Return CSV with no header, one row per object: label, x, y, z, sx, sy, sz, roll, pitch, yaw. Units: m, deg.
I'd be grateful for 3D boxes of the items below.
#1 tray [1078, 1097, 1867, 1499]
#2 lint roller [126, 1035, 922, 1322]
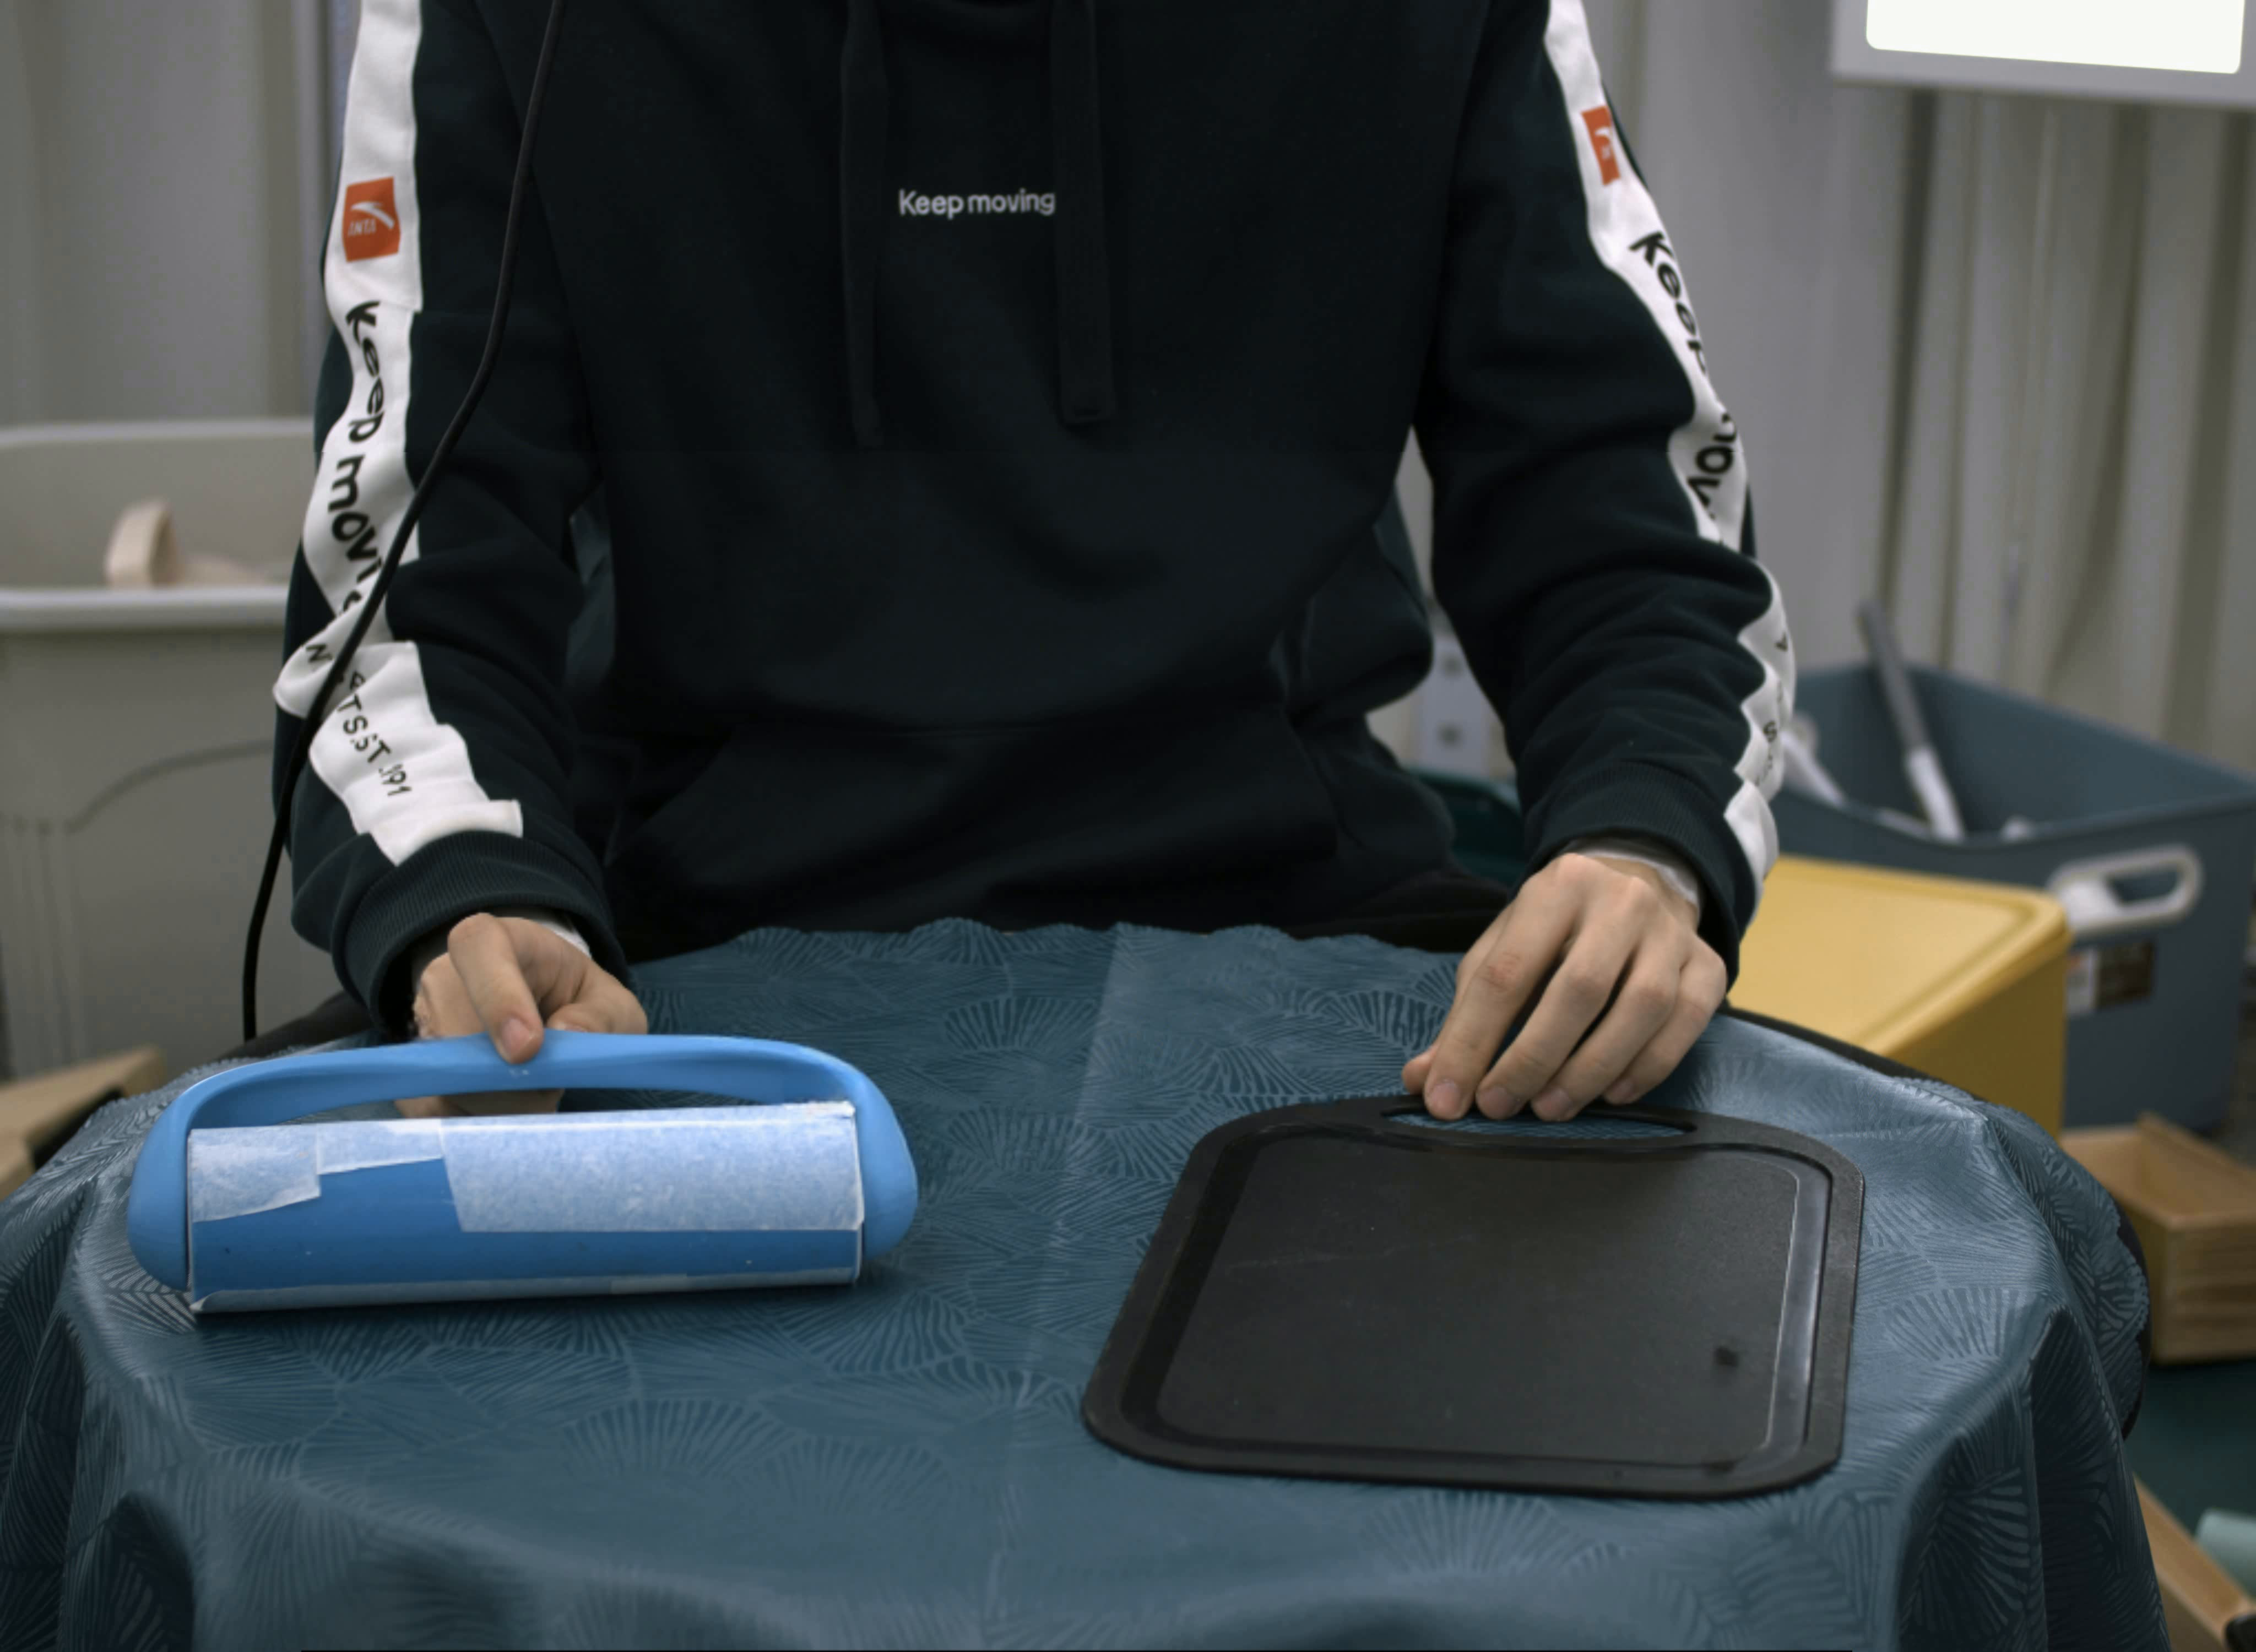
tray,0.108,0.130,1.546,0.210,0.010,0.324,3,16,9
lint roller,-0.184,0.093,1.576,0.229,0.068,0.178,-4,17,-10
